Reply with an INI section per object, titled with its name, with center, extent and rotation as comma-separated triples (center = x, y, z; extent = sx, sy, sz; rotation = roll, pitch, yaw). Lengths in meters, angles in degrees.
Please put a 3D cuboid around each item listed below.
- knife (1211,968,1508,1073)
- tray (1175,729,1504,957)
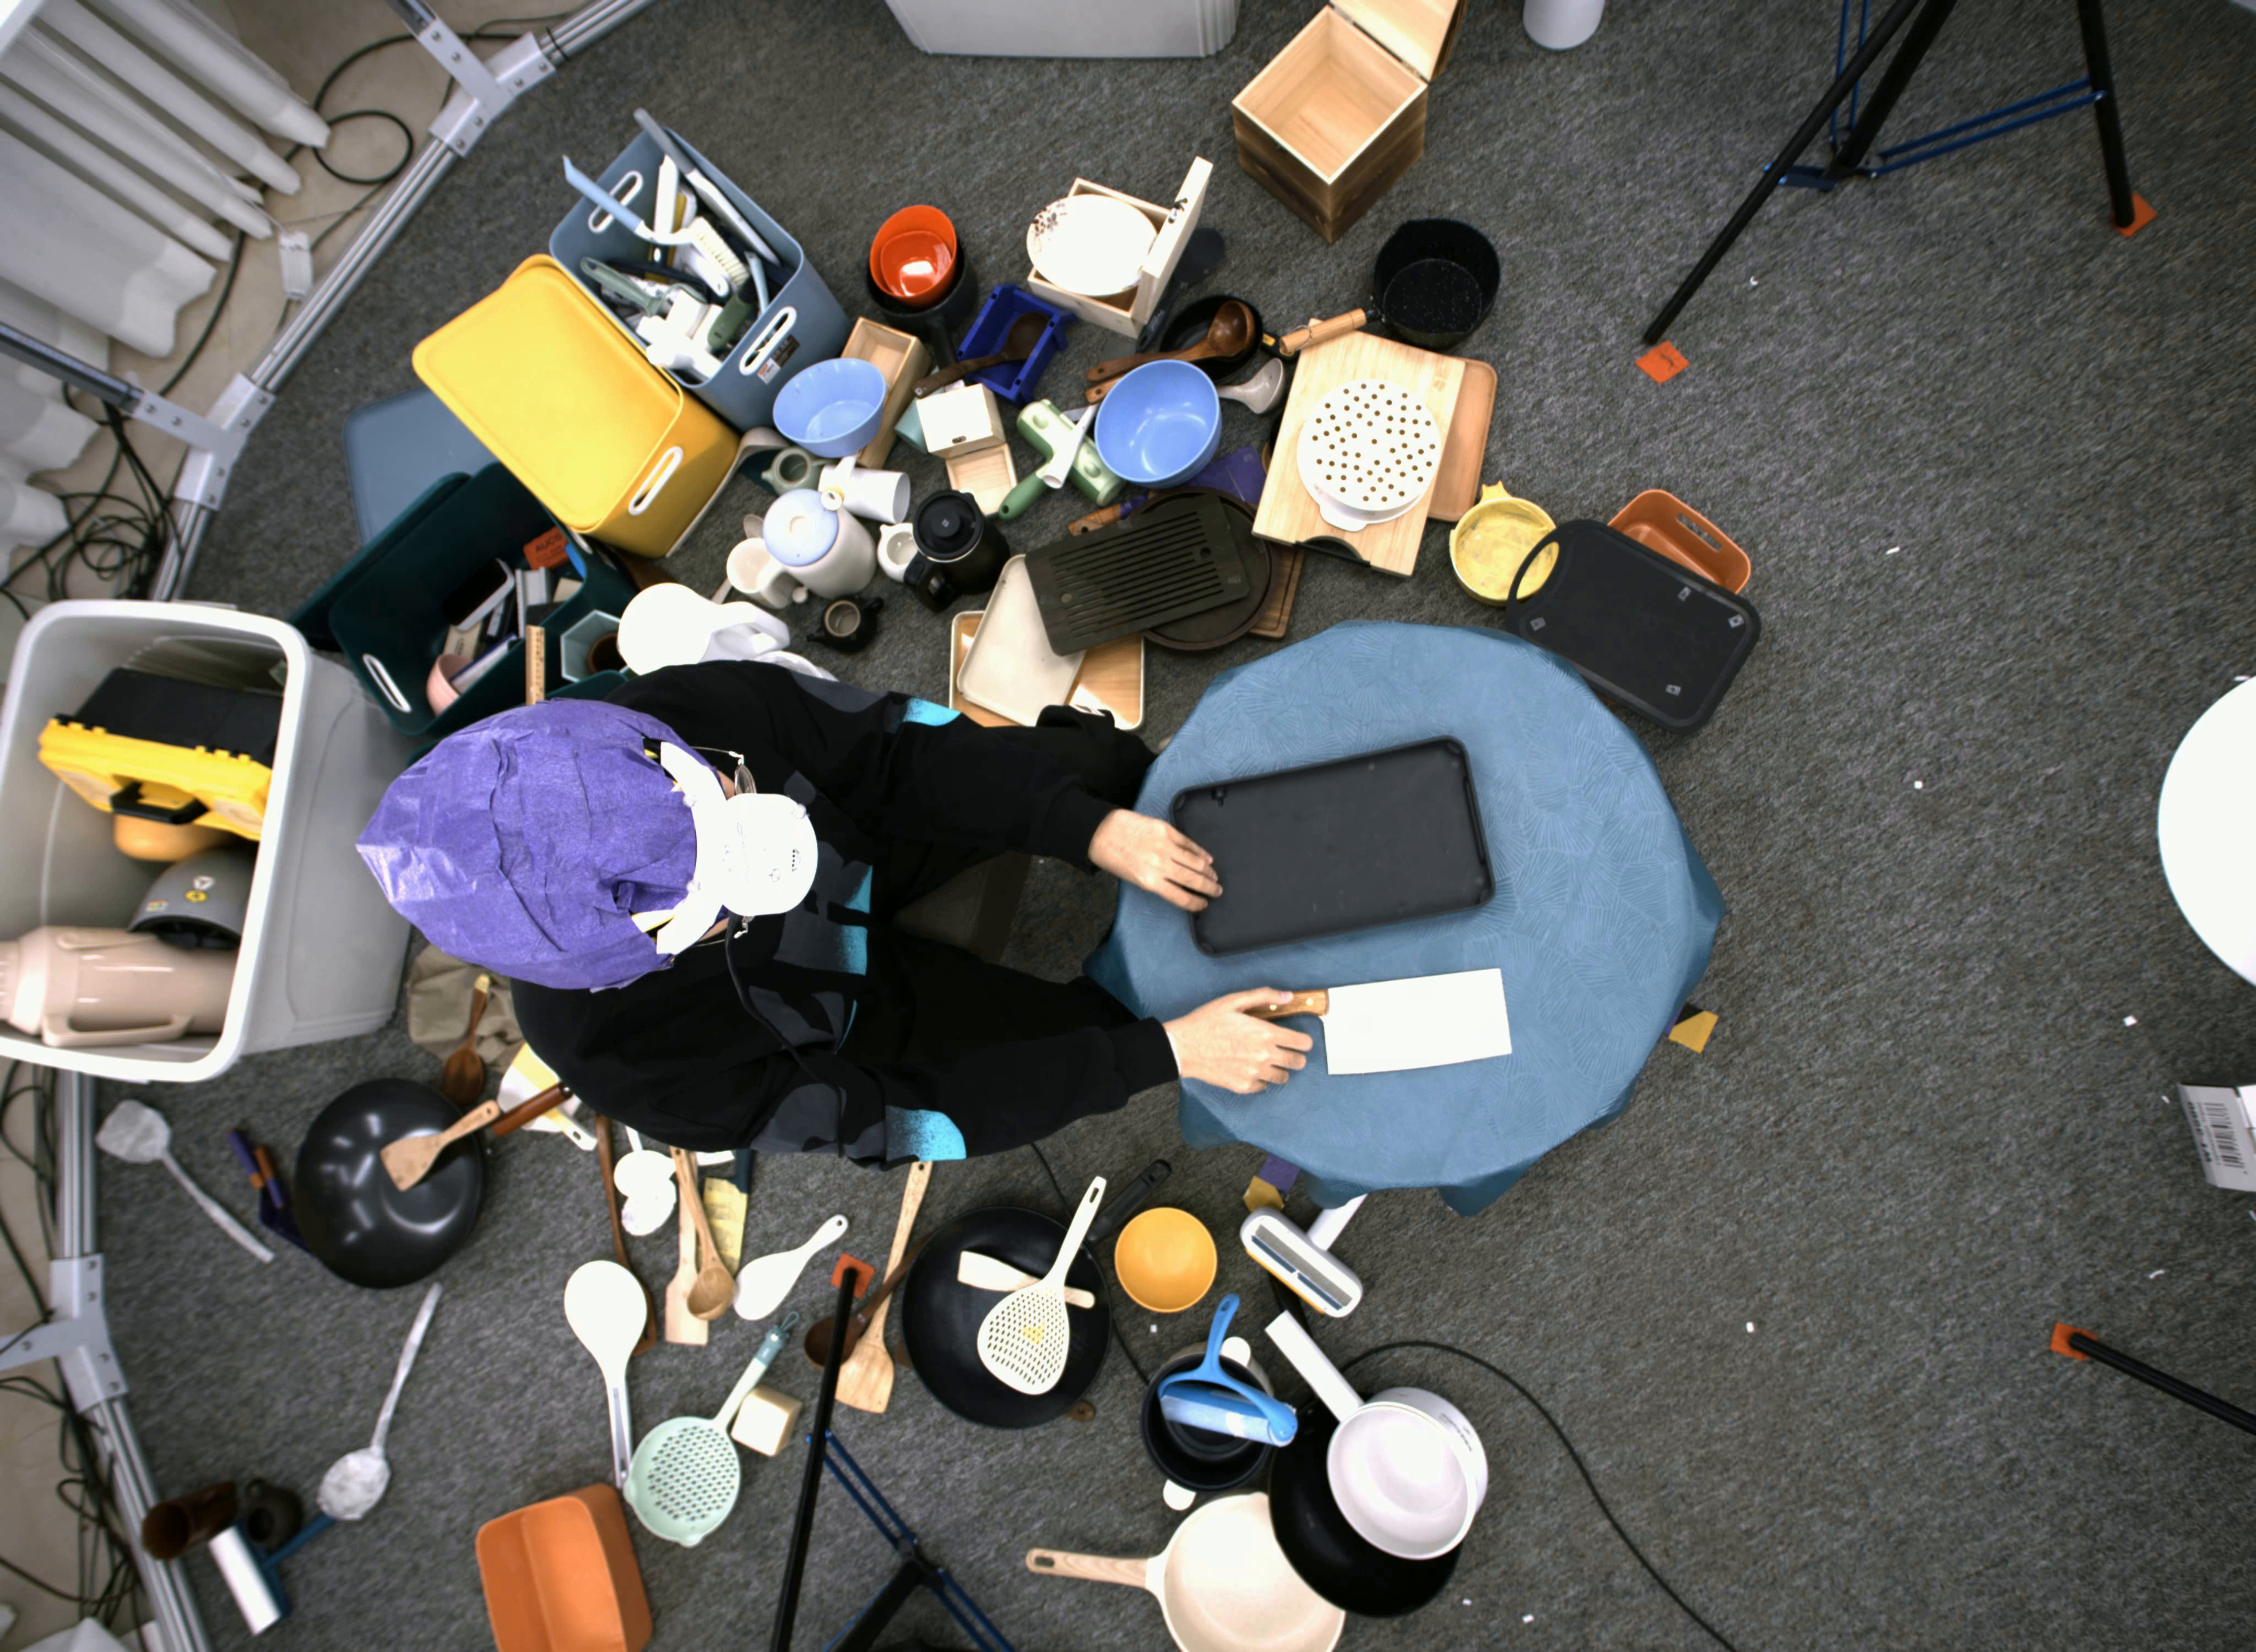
[knife]
center = 0.242, 0.208, 1.450
extent = 0.307, 0.021, 0.092
rotation = -8, 87, 8
[tray]
center = 0.220, 0.019, 1.454
extent = 0.320, 0.037, 0.183
rotation = -13, 85, 10
